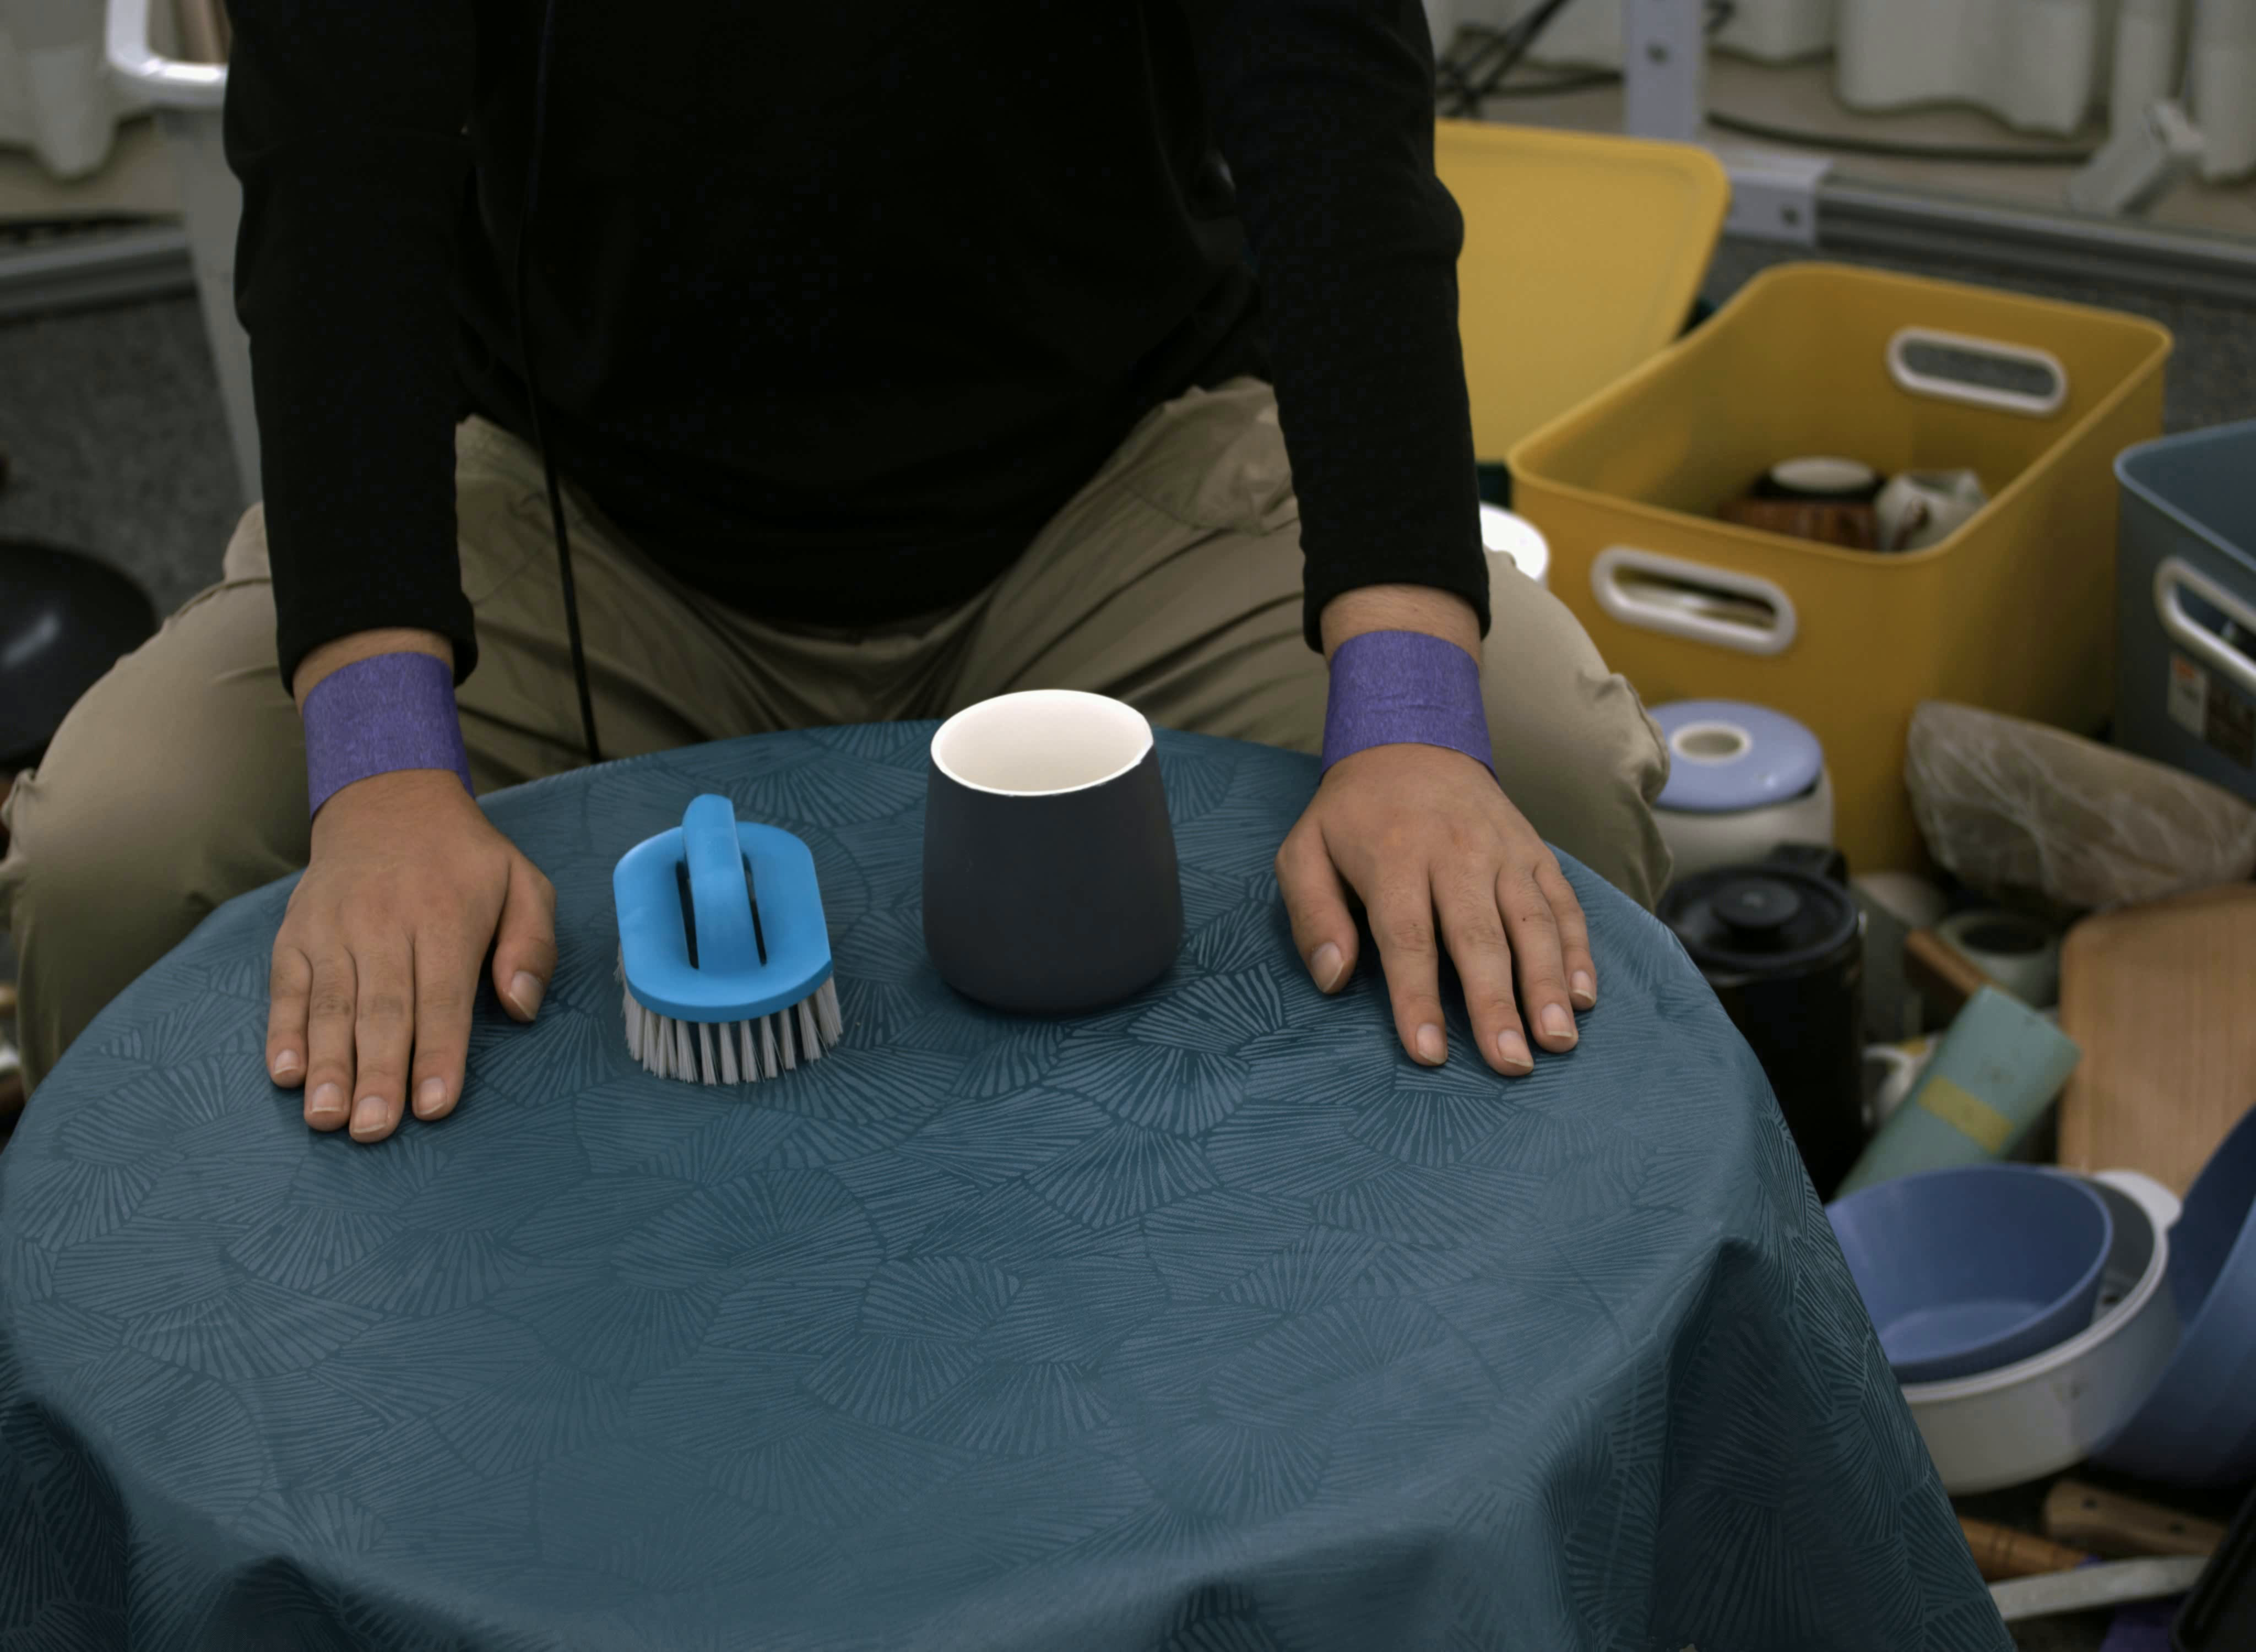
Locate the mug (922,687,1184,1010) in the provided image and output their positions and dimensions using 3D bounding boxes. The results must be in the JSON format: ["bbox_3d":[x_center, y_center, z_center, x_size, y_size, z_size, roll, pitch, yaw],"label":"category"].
[{"bbox_3d":[-0.028,0.001,1.996,0.093,0.089,0.125,-3,28,0],"label":"mug"}]

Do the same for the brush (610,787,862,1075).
[{"bbox_3d":[-0.142,0.028,1.985,0.084,0.063,0.143,-10,27,-3],"label":"brush"}]
